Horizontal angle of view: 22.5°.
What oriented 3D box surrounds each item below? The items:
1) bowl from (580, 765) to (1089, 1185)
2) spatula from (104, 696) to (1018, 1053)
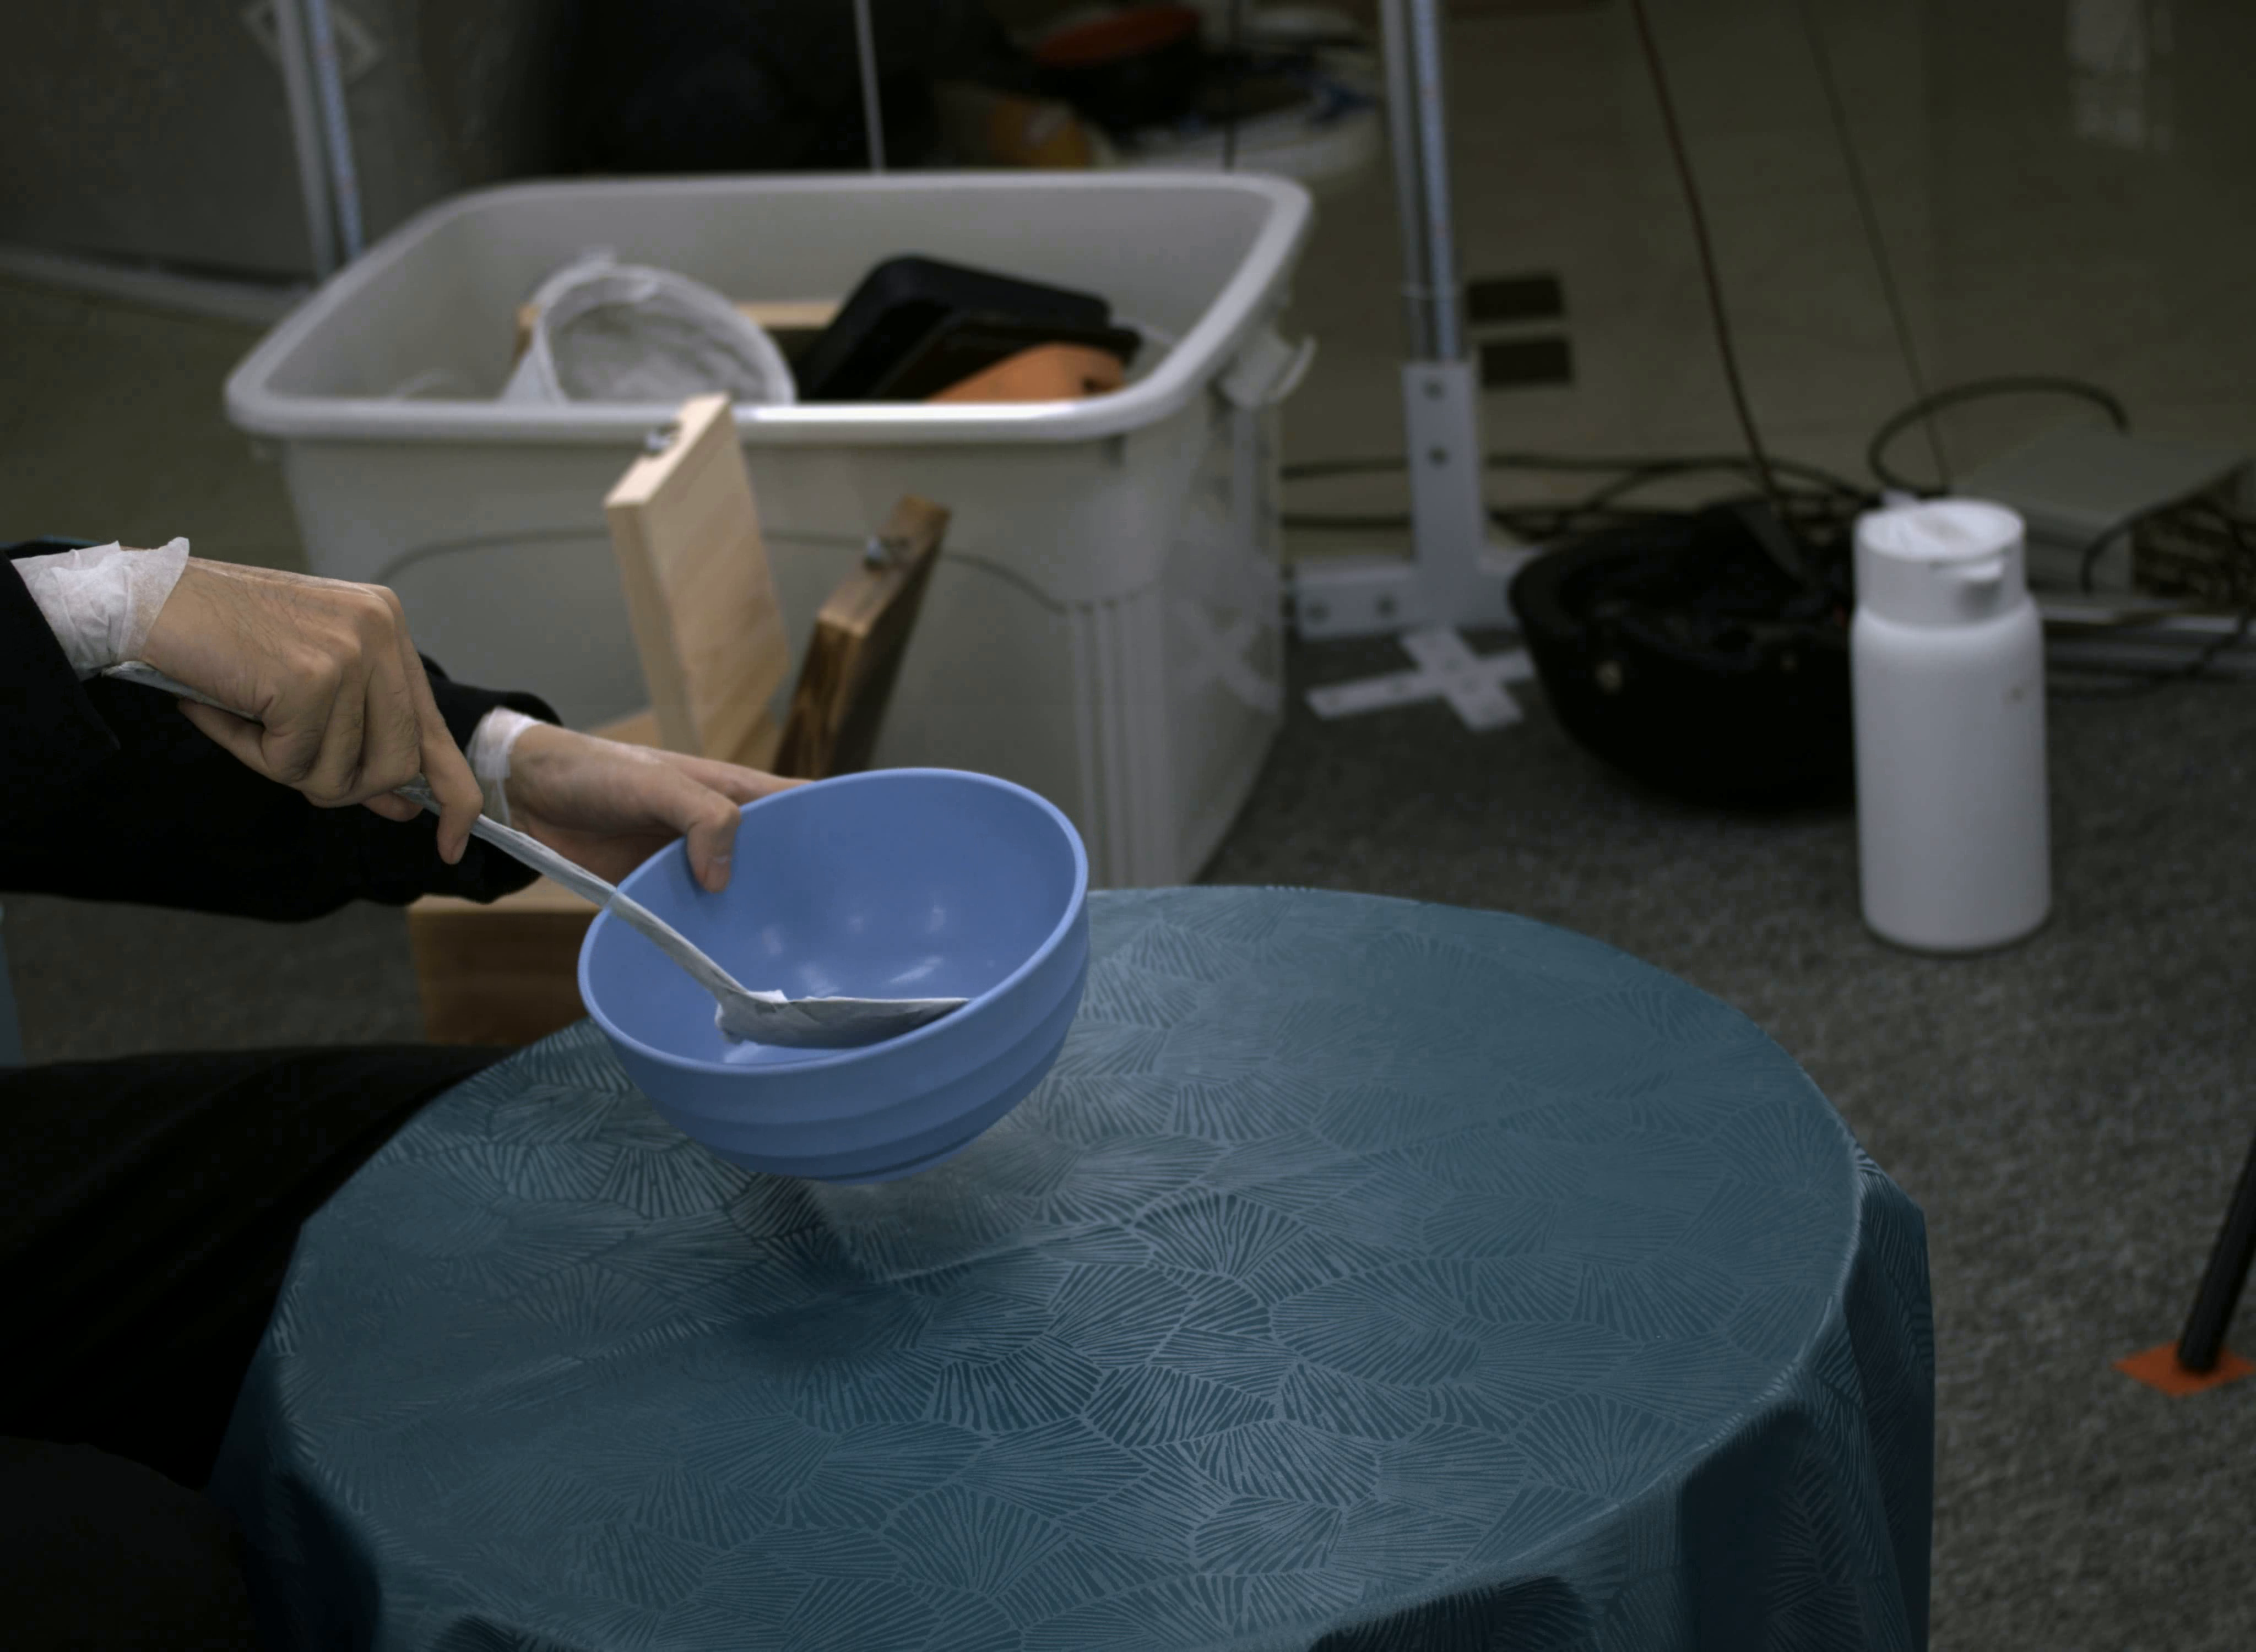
[{"bbox_3d":[-0.100,0.071,2.140,0.196,0.097,0.193,-11,34,7],"label":"bowl"},{"bbox_3d":[-0.199,0.015,2.003,0.099,0.368,0.044,-12,55,50],"label":"spatula"}]
